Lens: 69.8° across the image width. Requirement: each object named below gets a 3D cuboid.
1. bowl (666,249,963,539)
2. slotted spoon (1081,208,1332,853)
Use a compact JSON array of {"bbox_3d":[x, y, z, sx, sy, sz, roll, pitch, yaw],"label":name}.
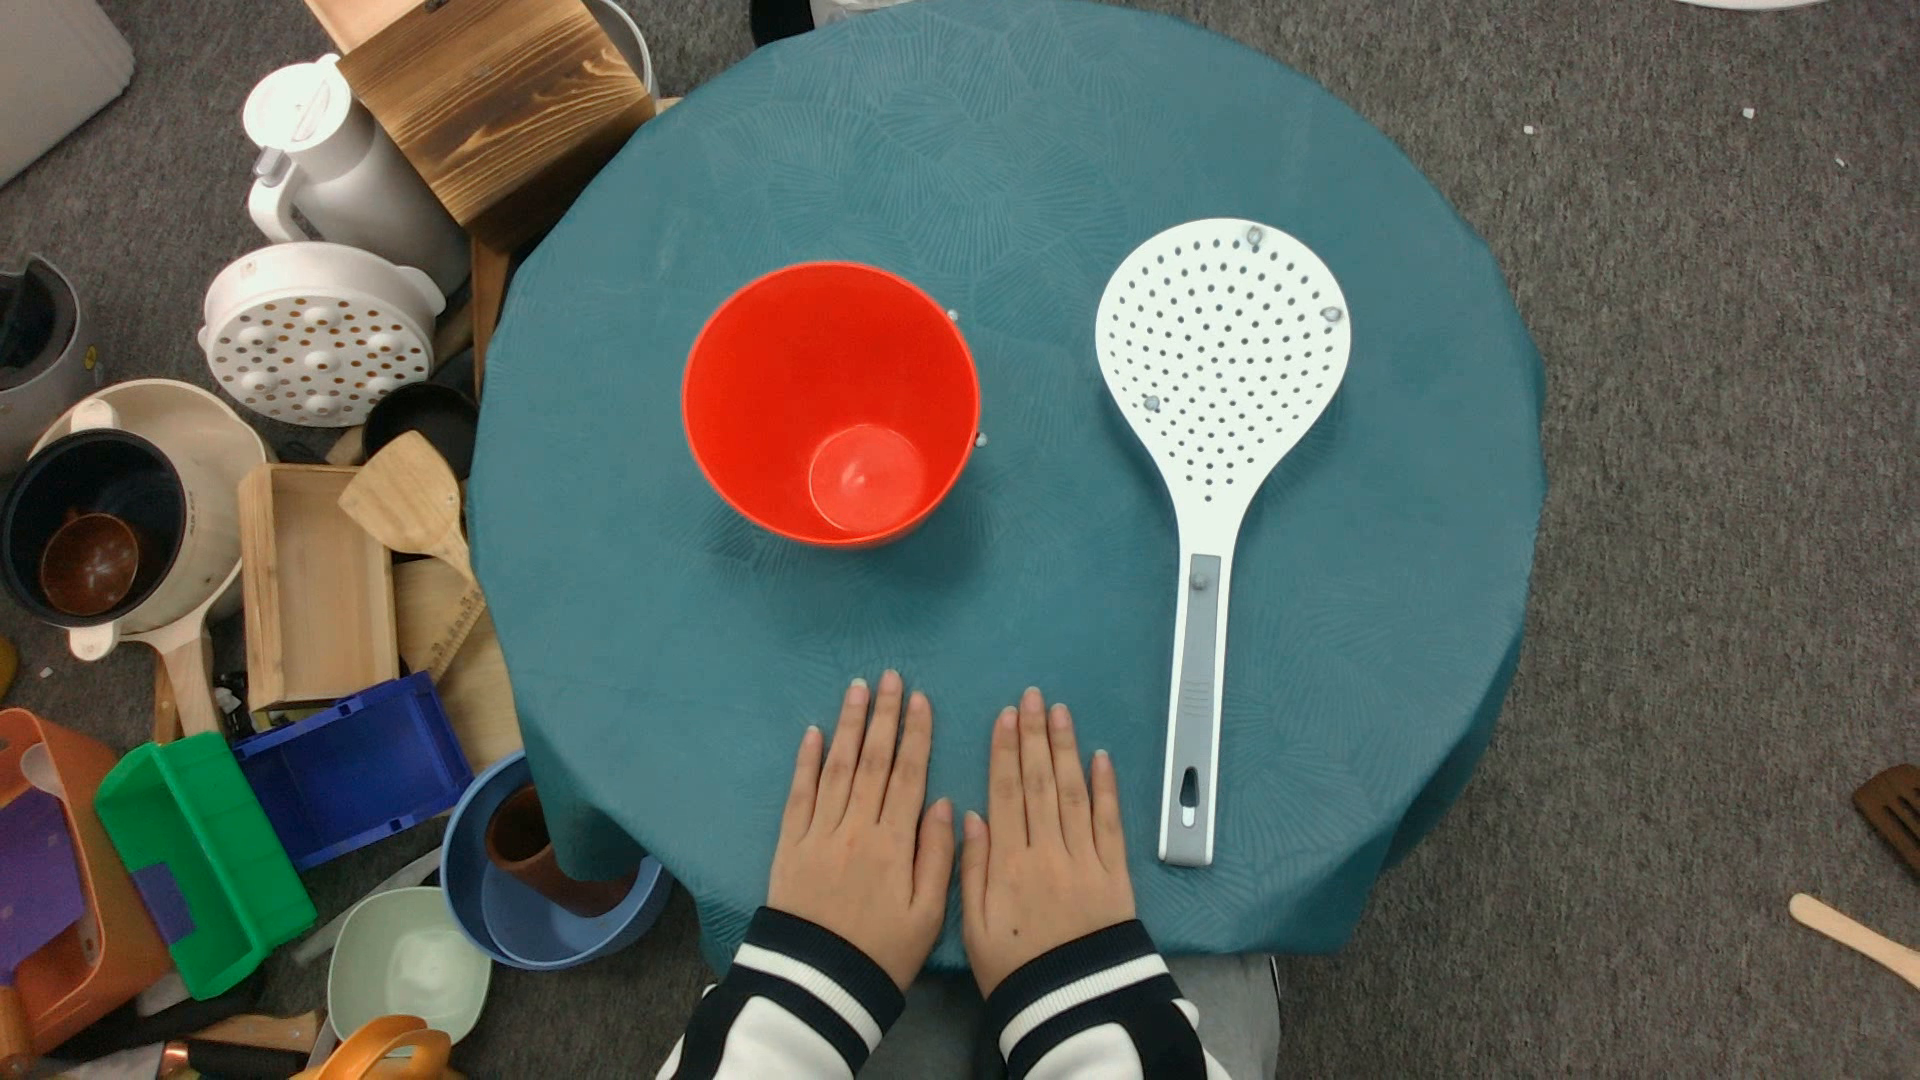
[{"bbox_3d":[-0.071,-0.063,0.724,0.148,0.104,0.148,0,70,0],"label":"bowl"},{"bbox_3d":[0.122,-0.013,0.729,0.136,0.045,0.351,5,71,5],"label":"slotted spoon"}]
